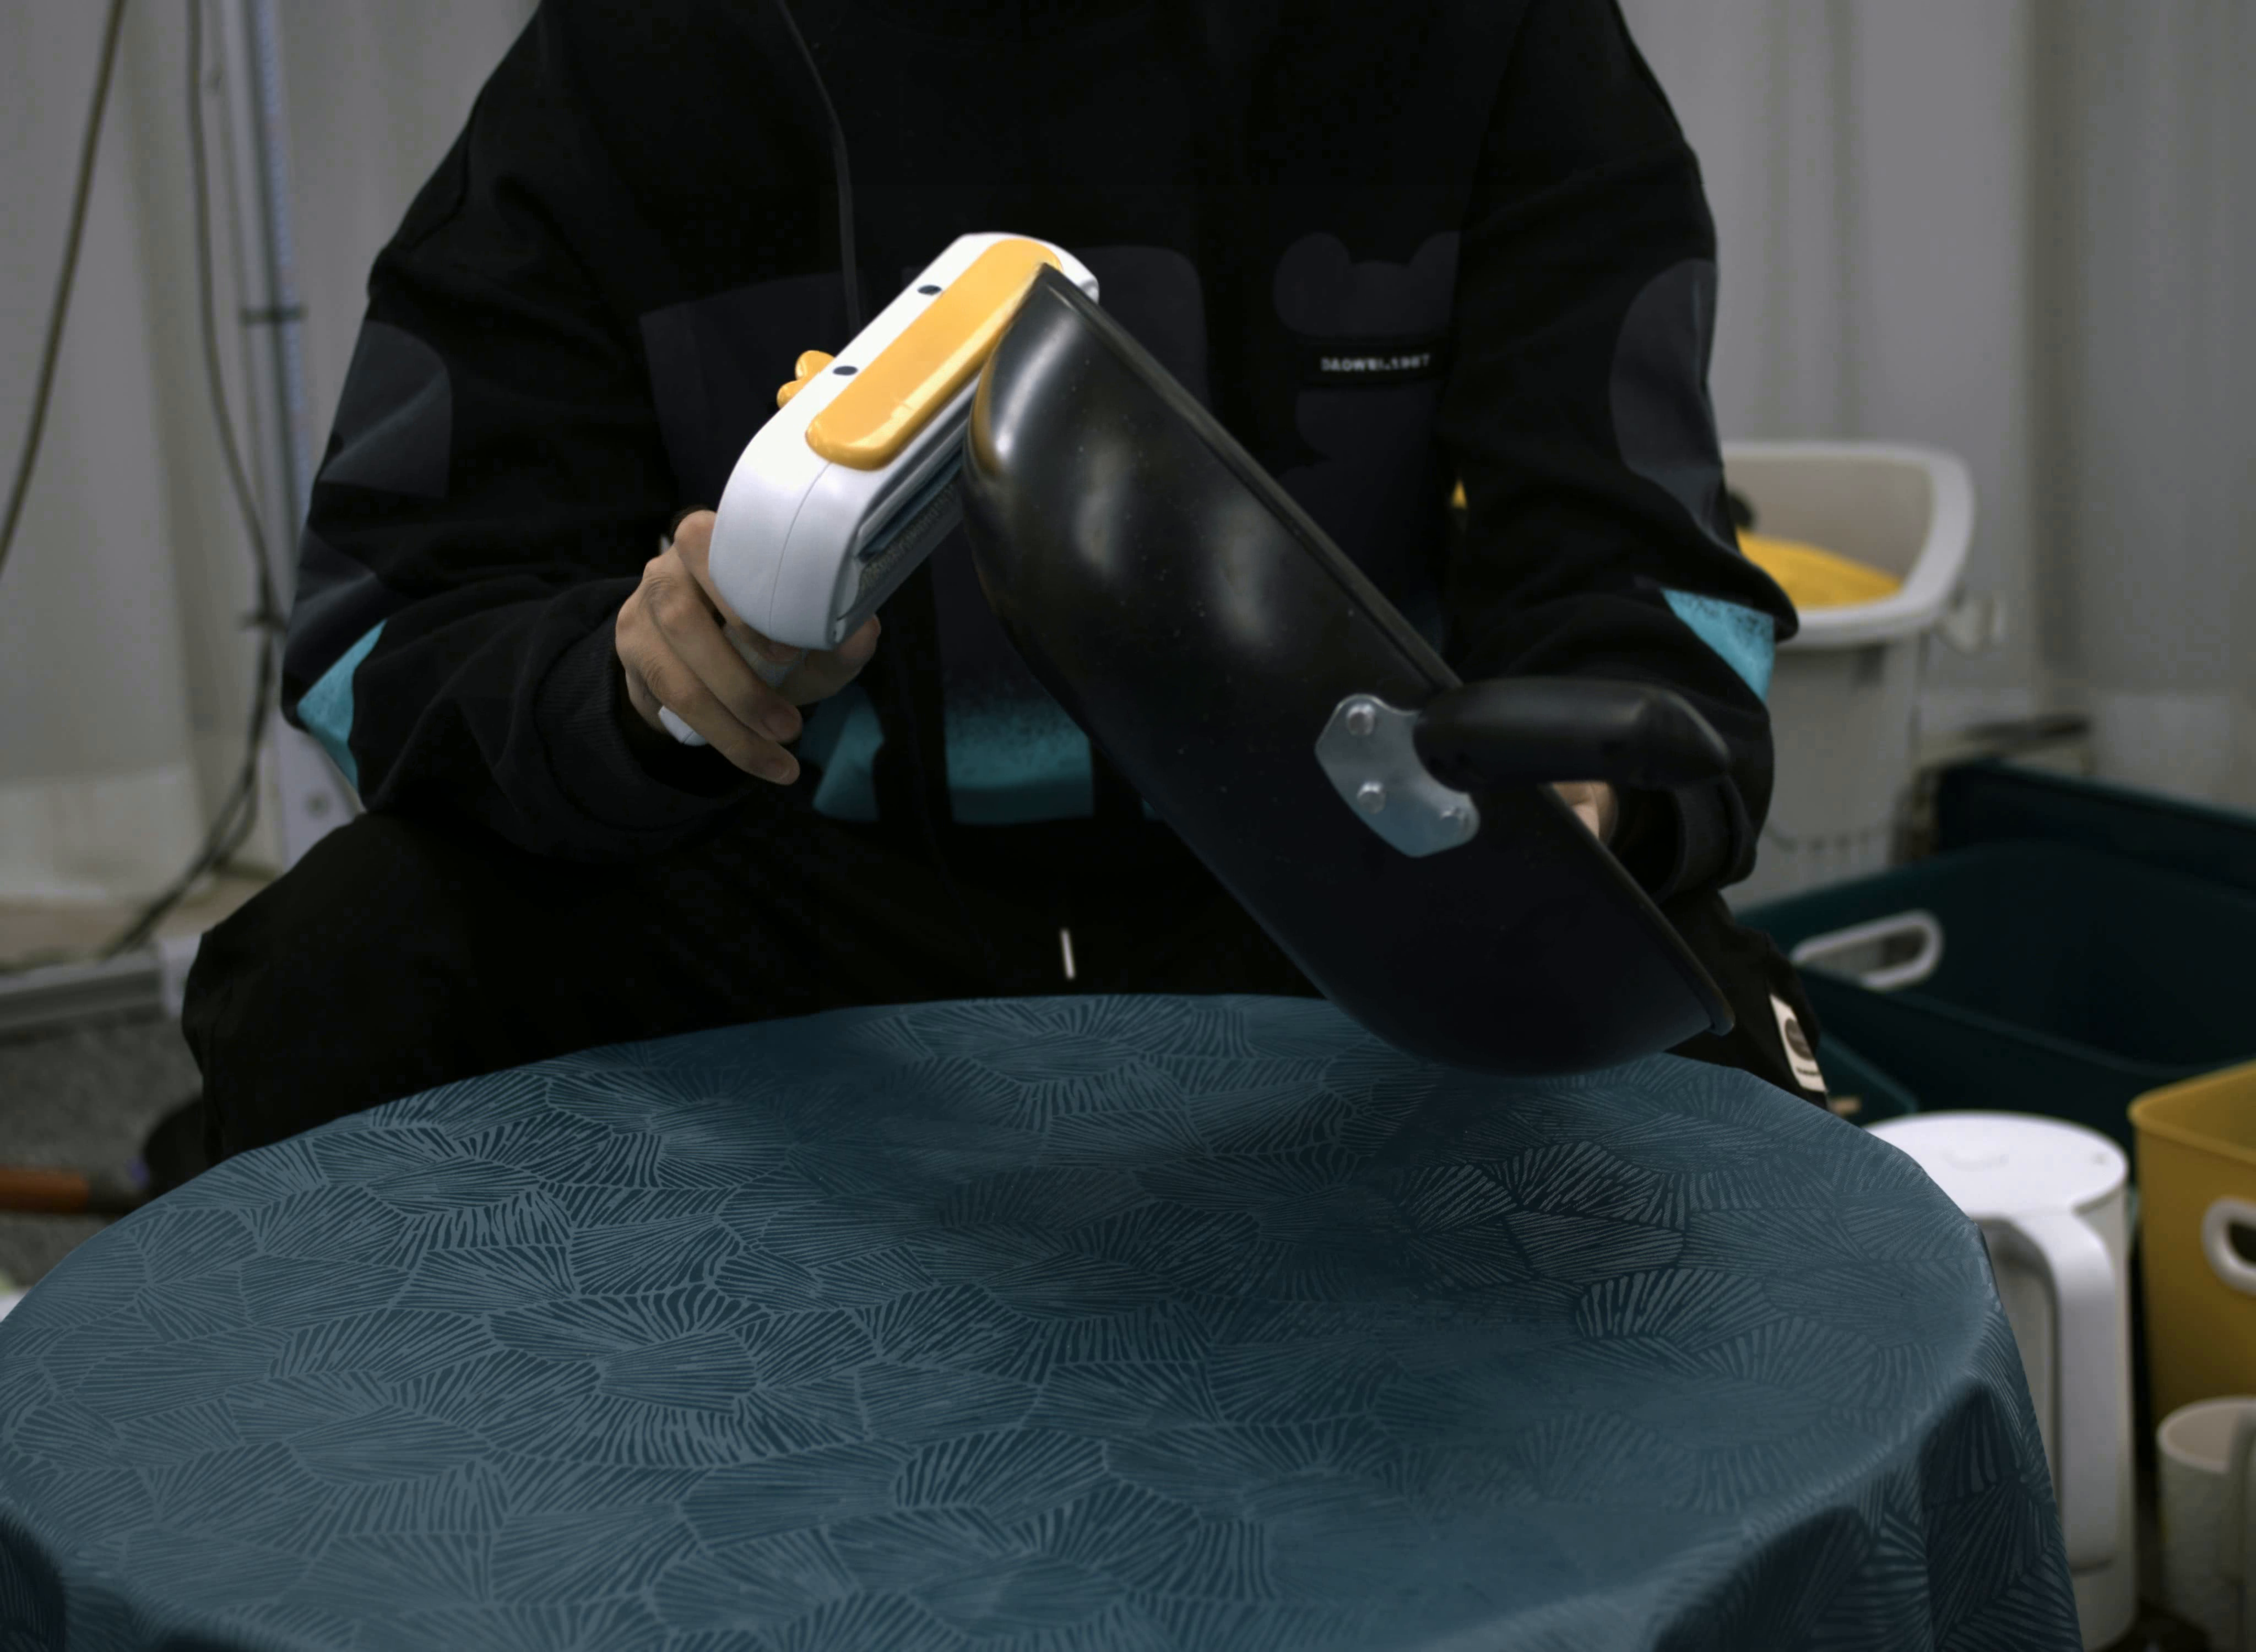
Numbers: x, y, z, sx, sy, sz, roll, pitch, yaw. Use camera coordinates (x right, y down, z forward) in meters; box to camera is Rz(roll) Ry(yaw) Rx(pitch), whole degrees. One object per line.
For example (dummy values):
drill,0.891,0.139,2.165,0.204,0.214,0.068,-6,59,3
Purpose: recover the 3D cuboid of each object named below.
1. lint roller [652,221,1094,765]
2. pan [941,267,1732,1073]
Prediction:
lint roller,-0.093,-0.087,1.736,0.074,0.191,0.194,29,35,3
pan,0.063,-0.023,1.554,0.111,0.309,0.479,-44,12,0
